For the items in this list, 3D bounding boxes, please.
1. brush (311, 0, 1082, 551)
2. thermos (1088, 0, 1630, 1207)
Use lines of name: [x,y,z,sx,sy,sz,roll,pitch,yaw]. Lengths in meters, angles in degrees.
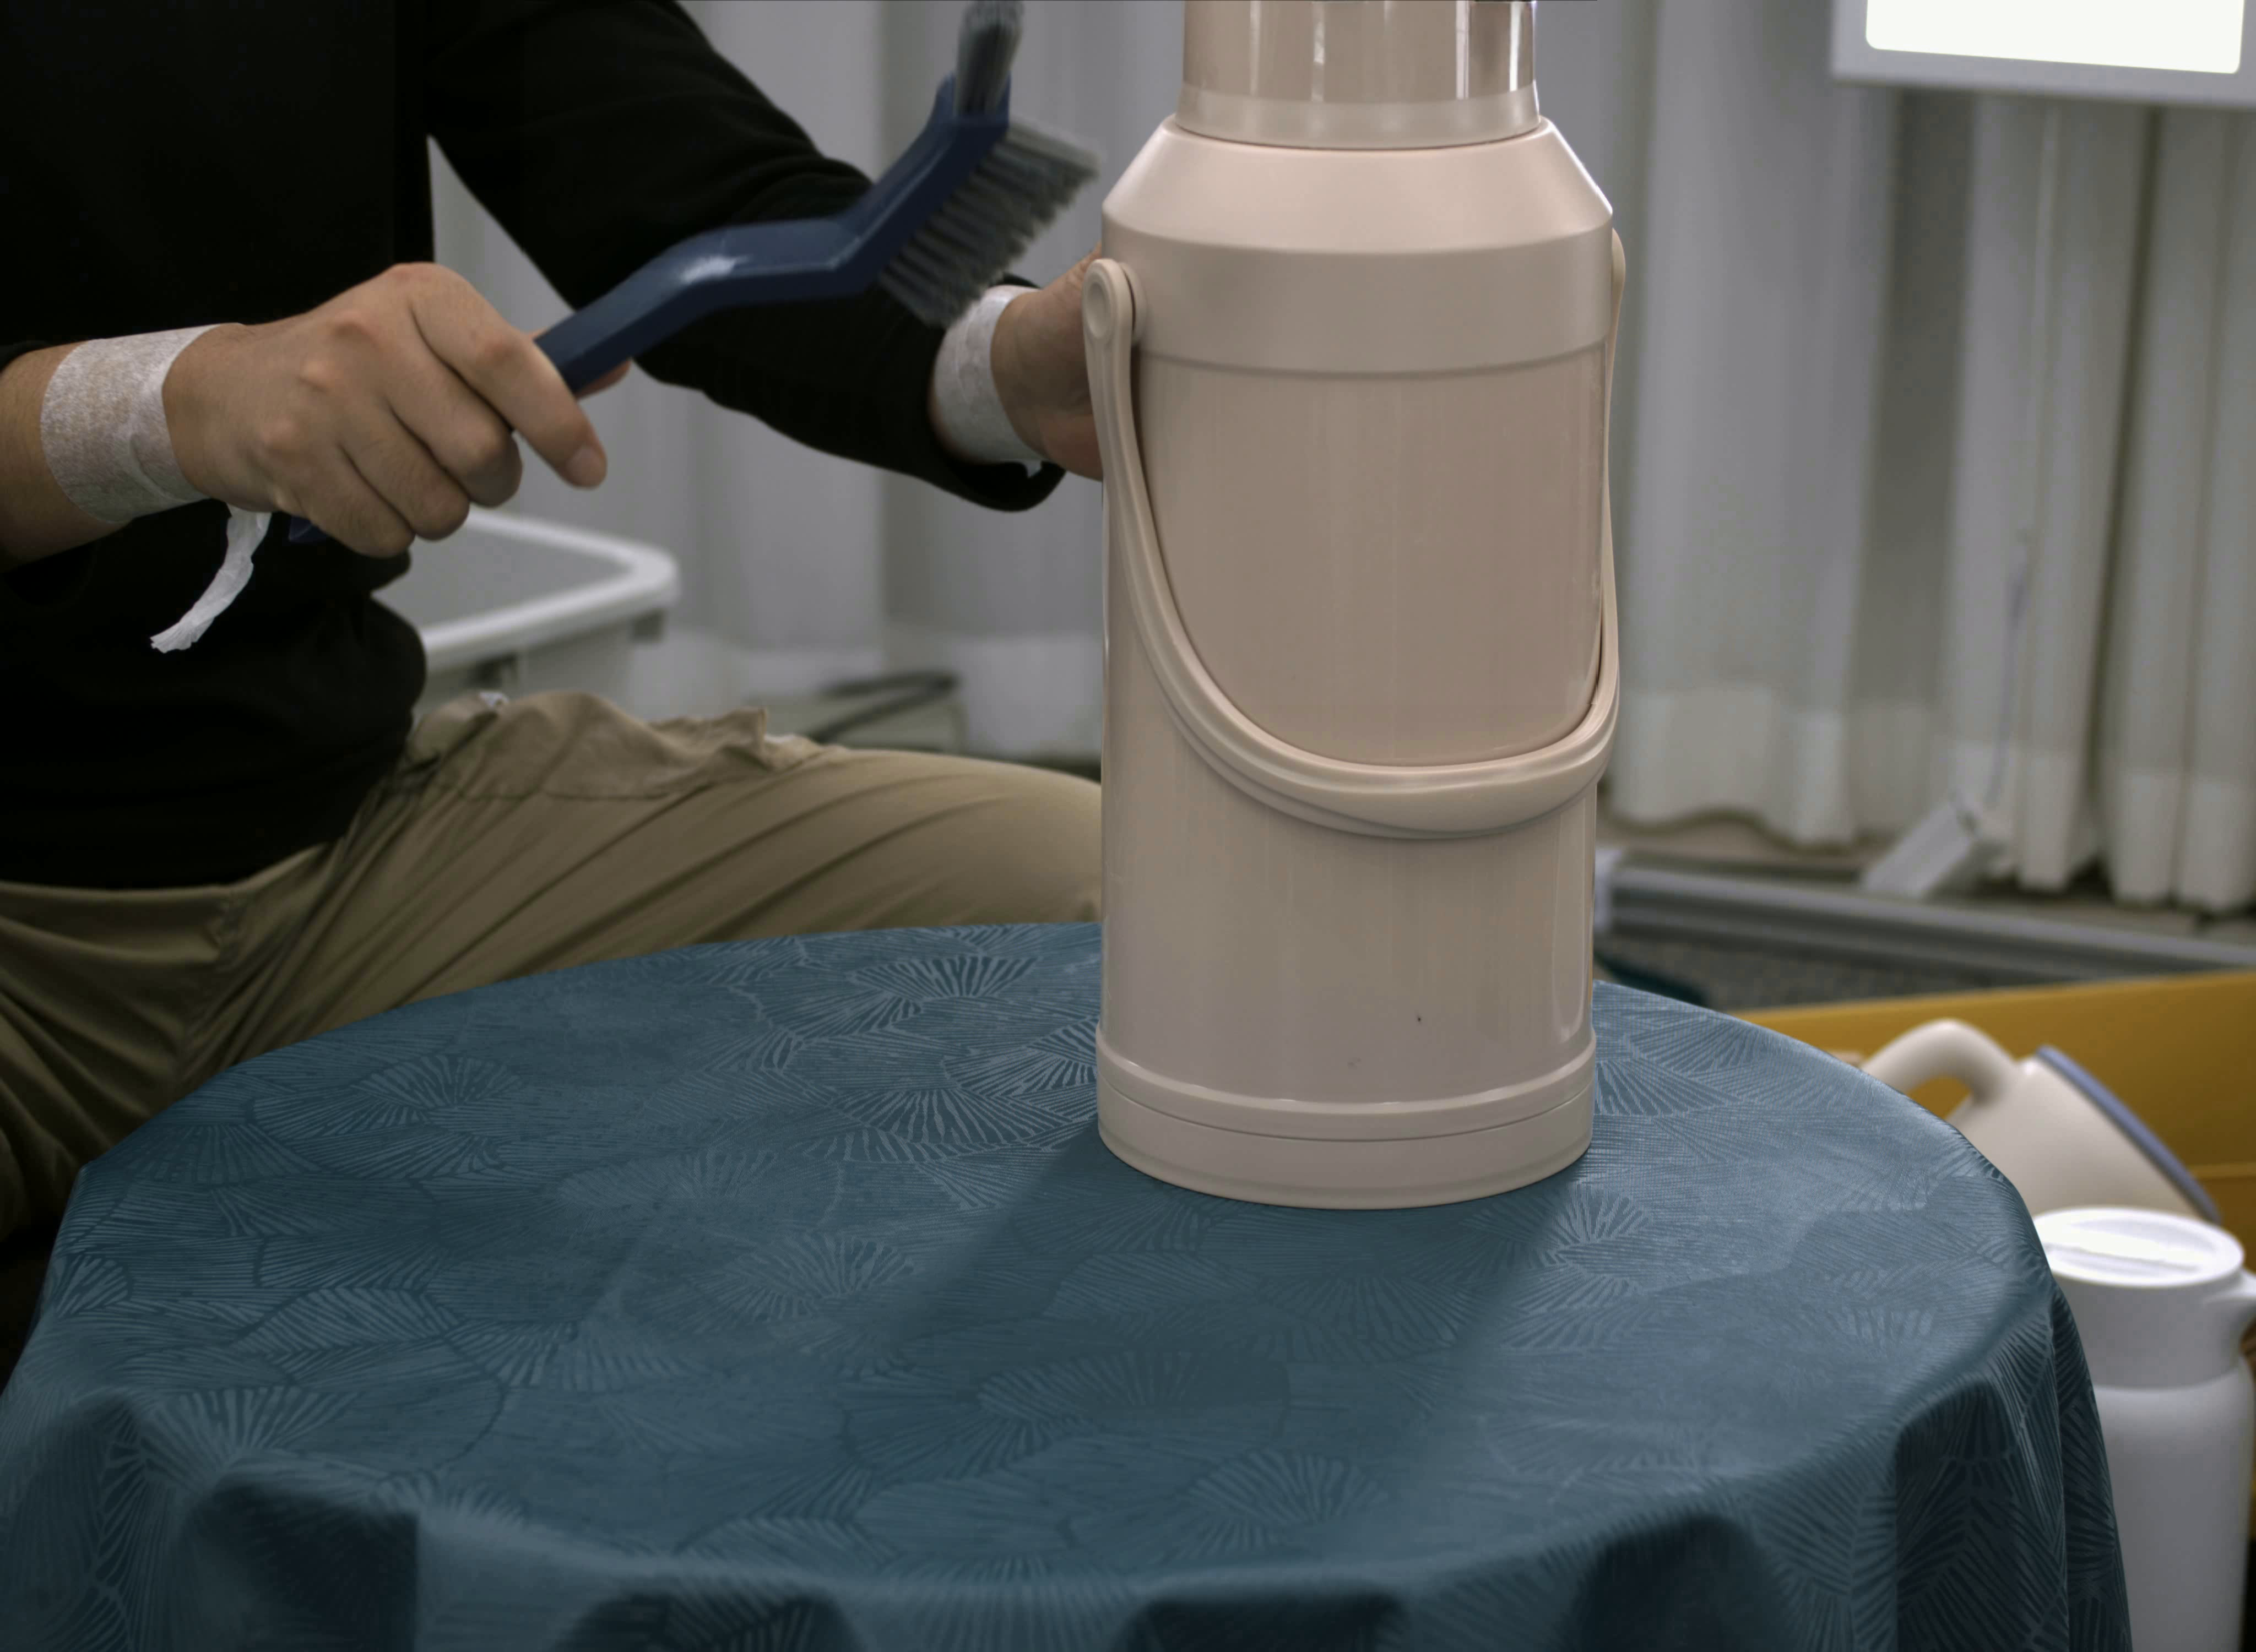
brush: [-0.138,-0.155,1.509,0.271,0.097,0.033,-20,40,20]
thermos: [0.066,-0.099,1.639,0.176,0.410,0.204,-9,19,-25]
